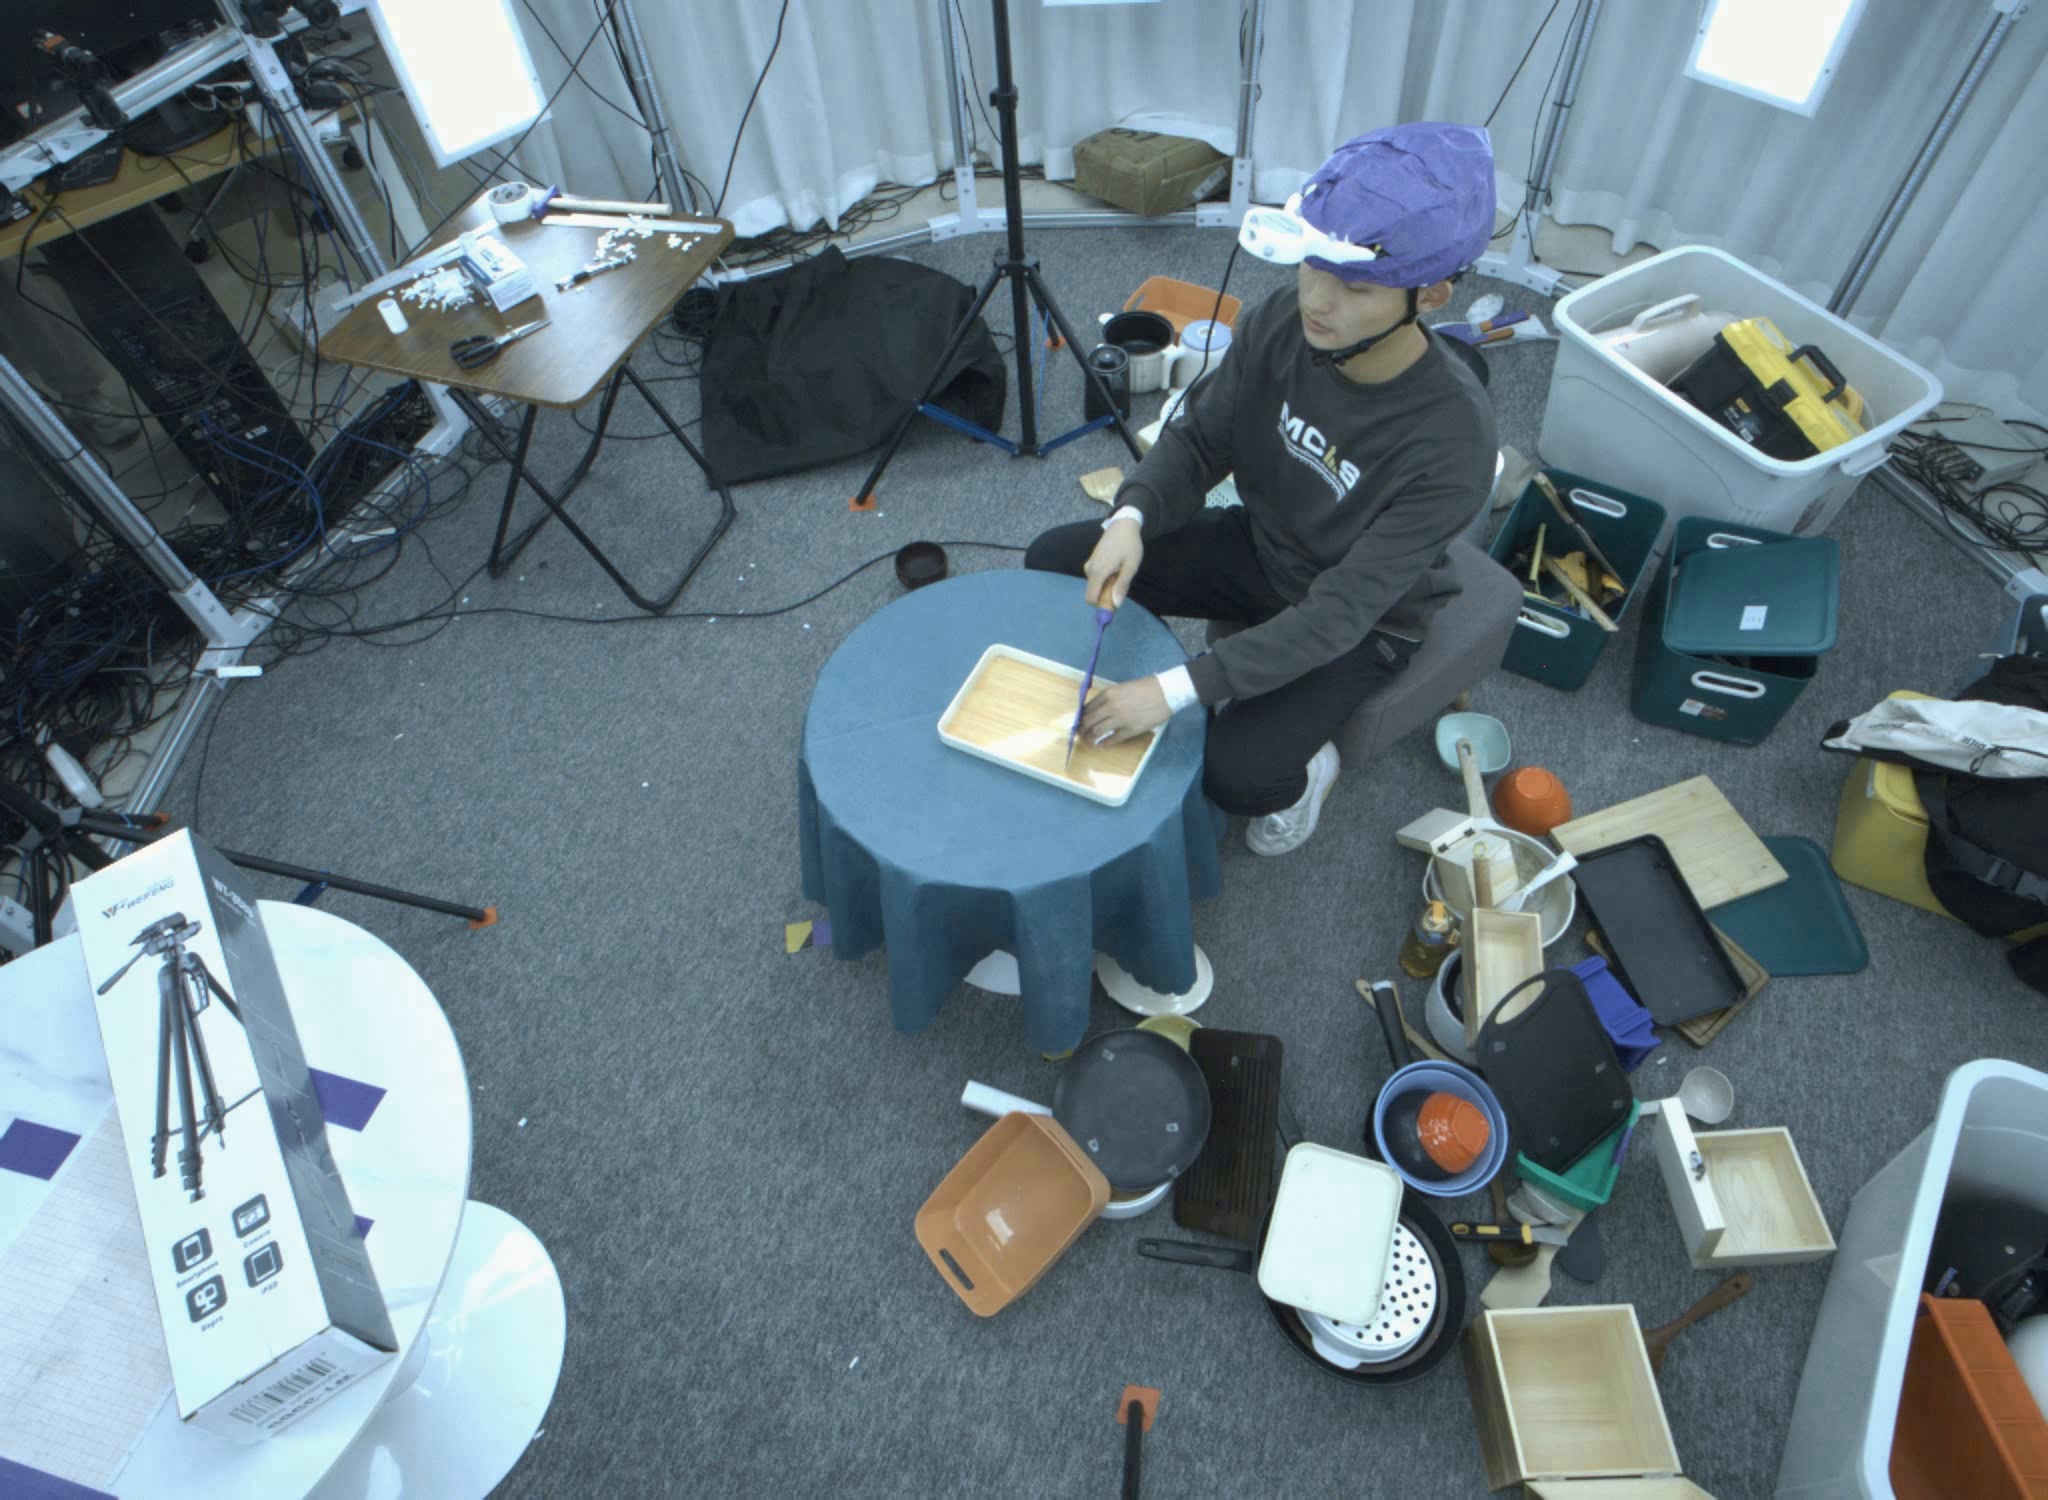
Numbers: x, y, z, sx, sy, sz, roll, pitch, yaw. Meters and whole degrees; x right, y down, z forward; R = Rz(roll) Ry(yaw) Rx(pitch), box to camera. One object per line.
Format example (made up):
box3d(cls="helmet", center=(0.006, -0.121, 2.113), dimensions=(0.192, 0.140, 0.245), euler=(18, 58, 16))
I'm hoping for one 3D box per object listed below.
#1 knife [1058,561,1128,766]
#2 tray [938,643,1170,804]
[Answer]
box3d(cls="knife", center=(0.095, -0.127, 1.785), dimensions=(0.032, 0.104, 0.314), euler=(17, 64, 4))
box3d(cls="tray", center=(0.044, -0.043, 1.808), dimensions=(0.297, 0.028, 0.192), euler=(20, 58, 15))
